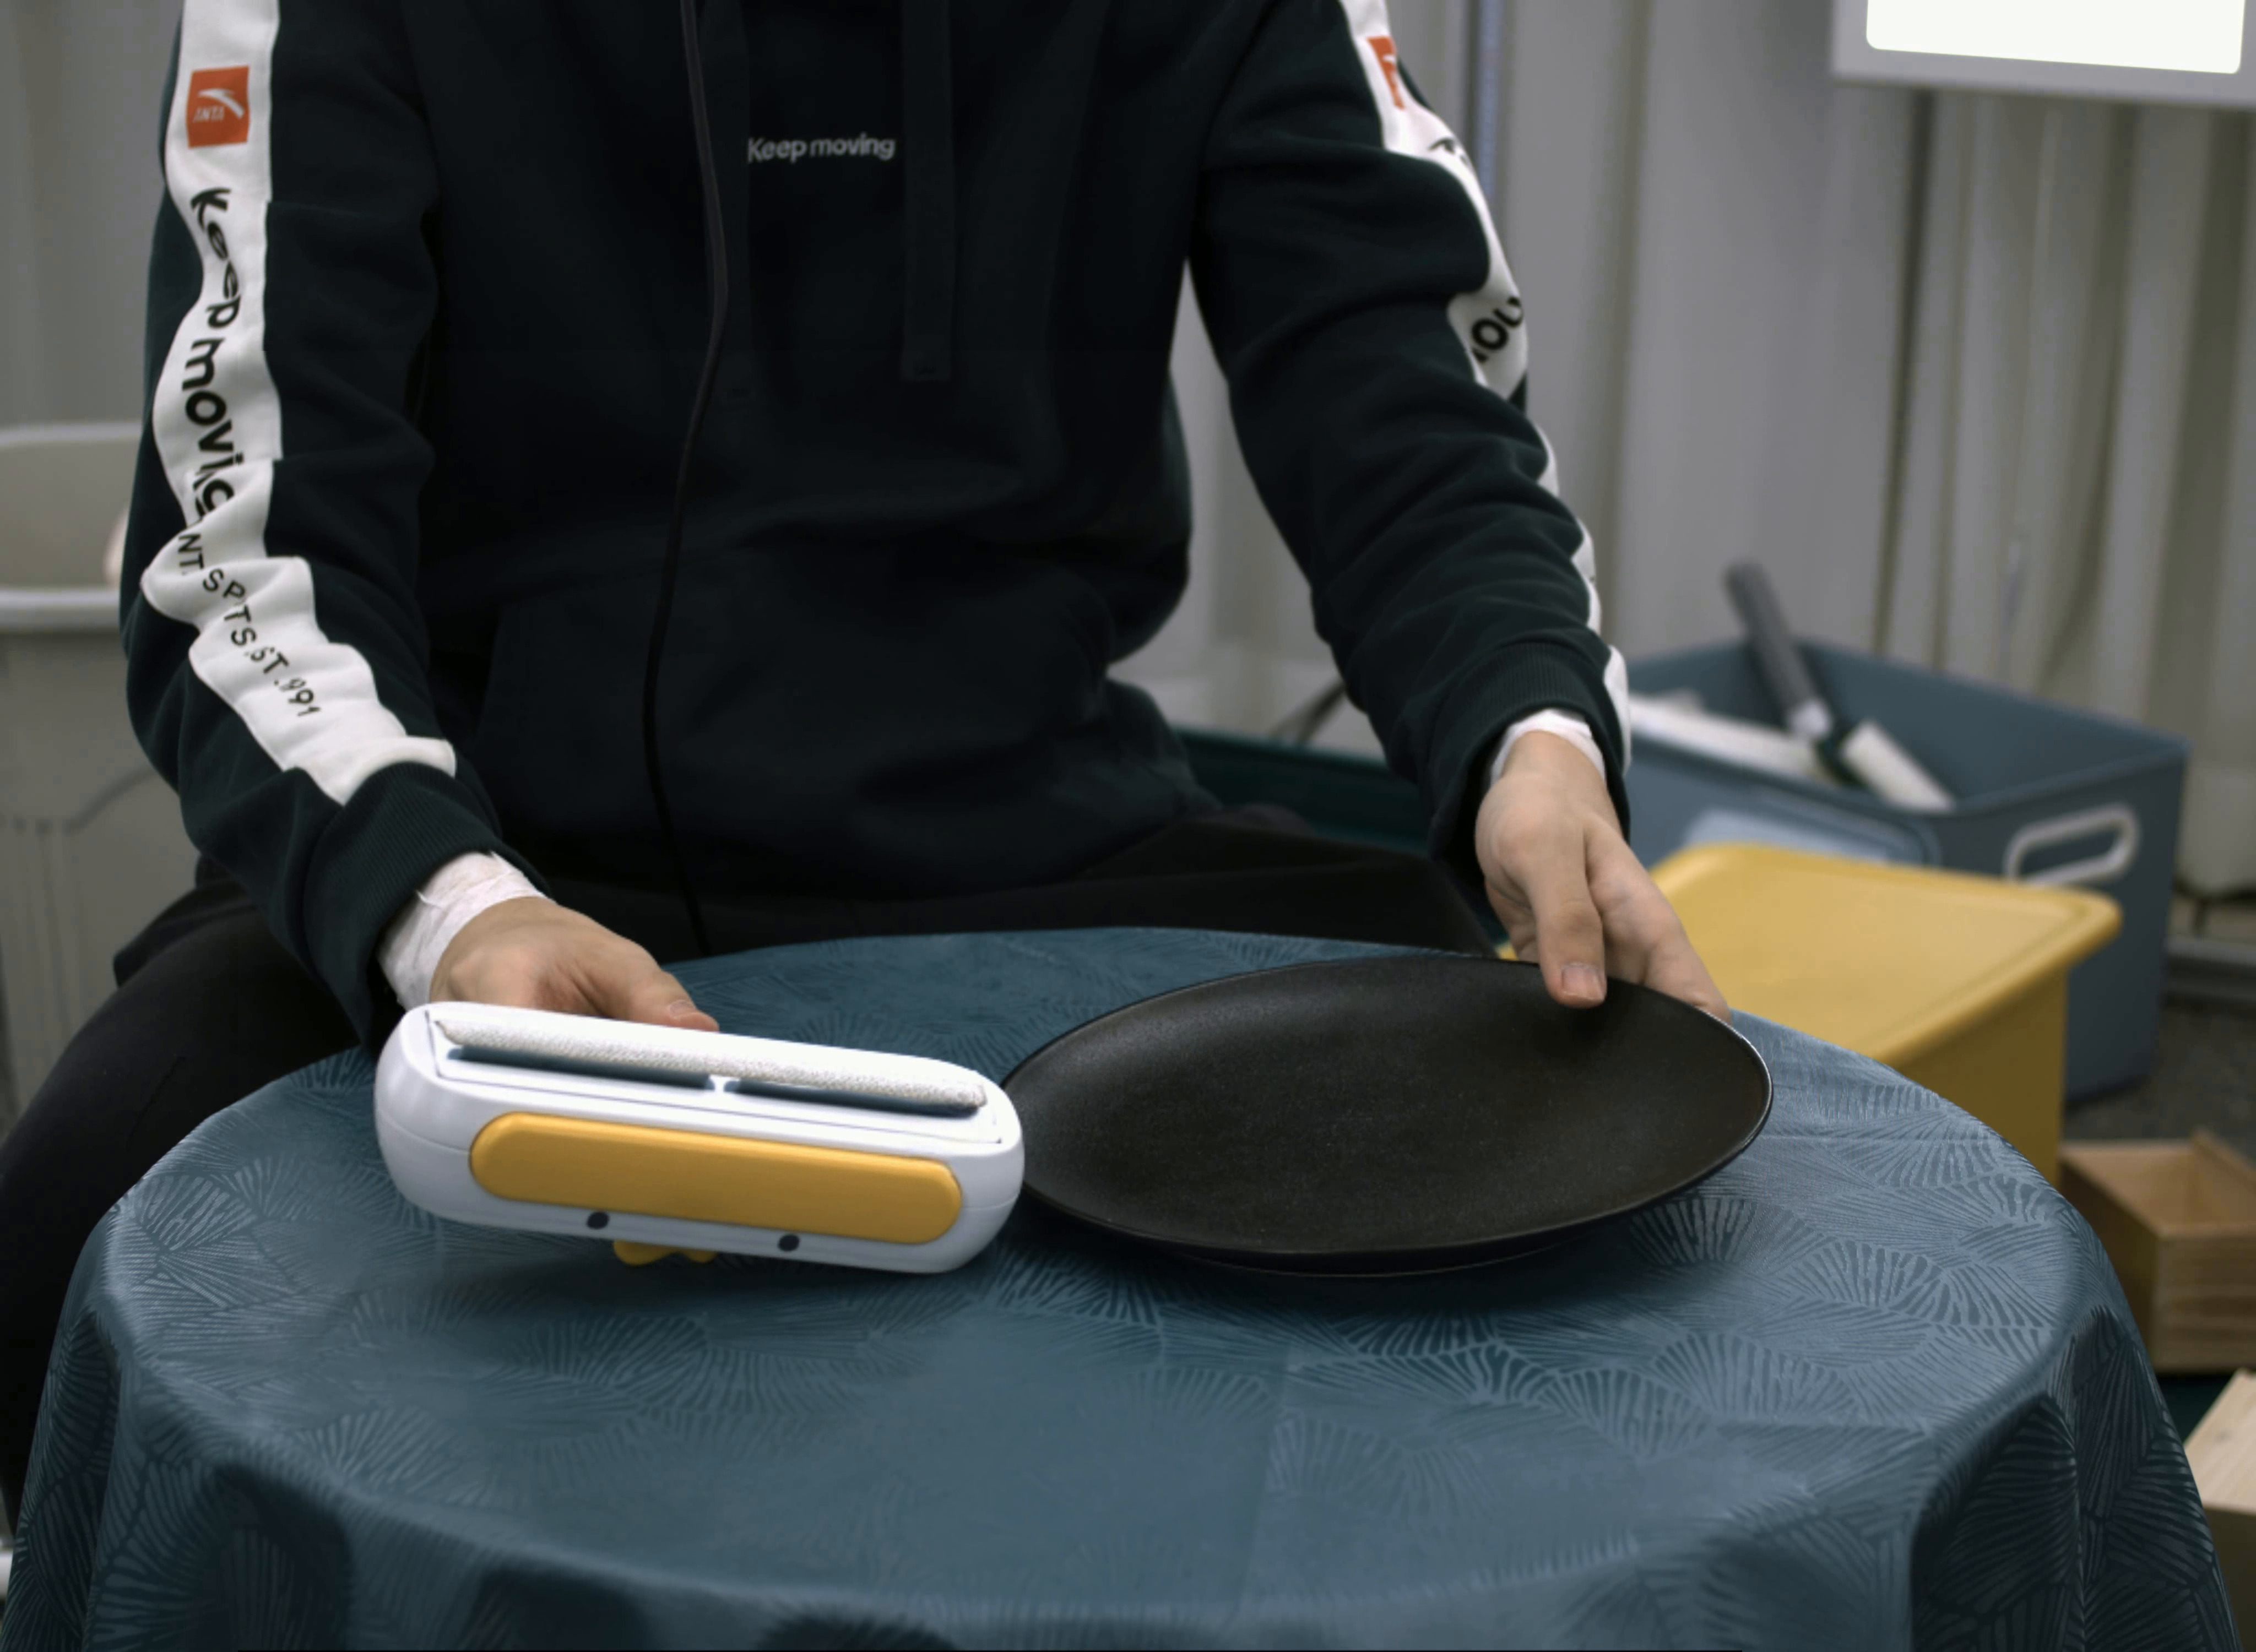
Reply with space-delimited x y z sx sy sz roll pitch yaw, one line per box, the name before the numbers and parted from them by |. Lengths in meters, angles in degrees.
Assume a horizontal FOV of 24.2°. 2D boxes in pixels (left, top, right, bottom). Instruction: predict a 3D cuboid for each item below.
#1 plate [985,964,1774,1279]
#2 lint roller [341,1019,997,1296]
plate | 0.078 0.093 1.622 0.243 0.023 0.243 -3 18 2
lint roller | -0.144 0.100 1.594 0.193 0.074 0.191 7 2 -11
